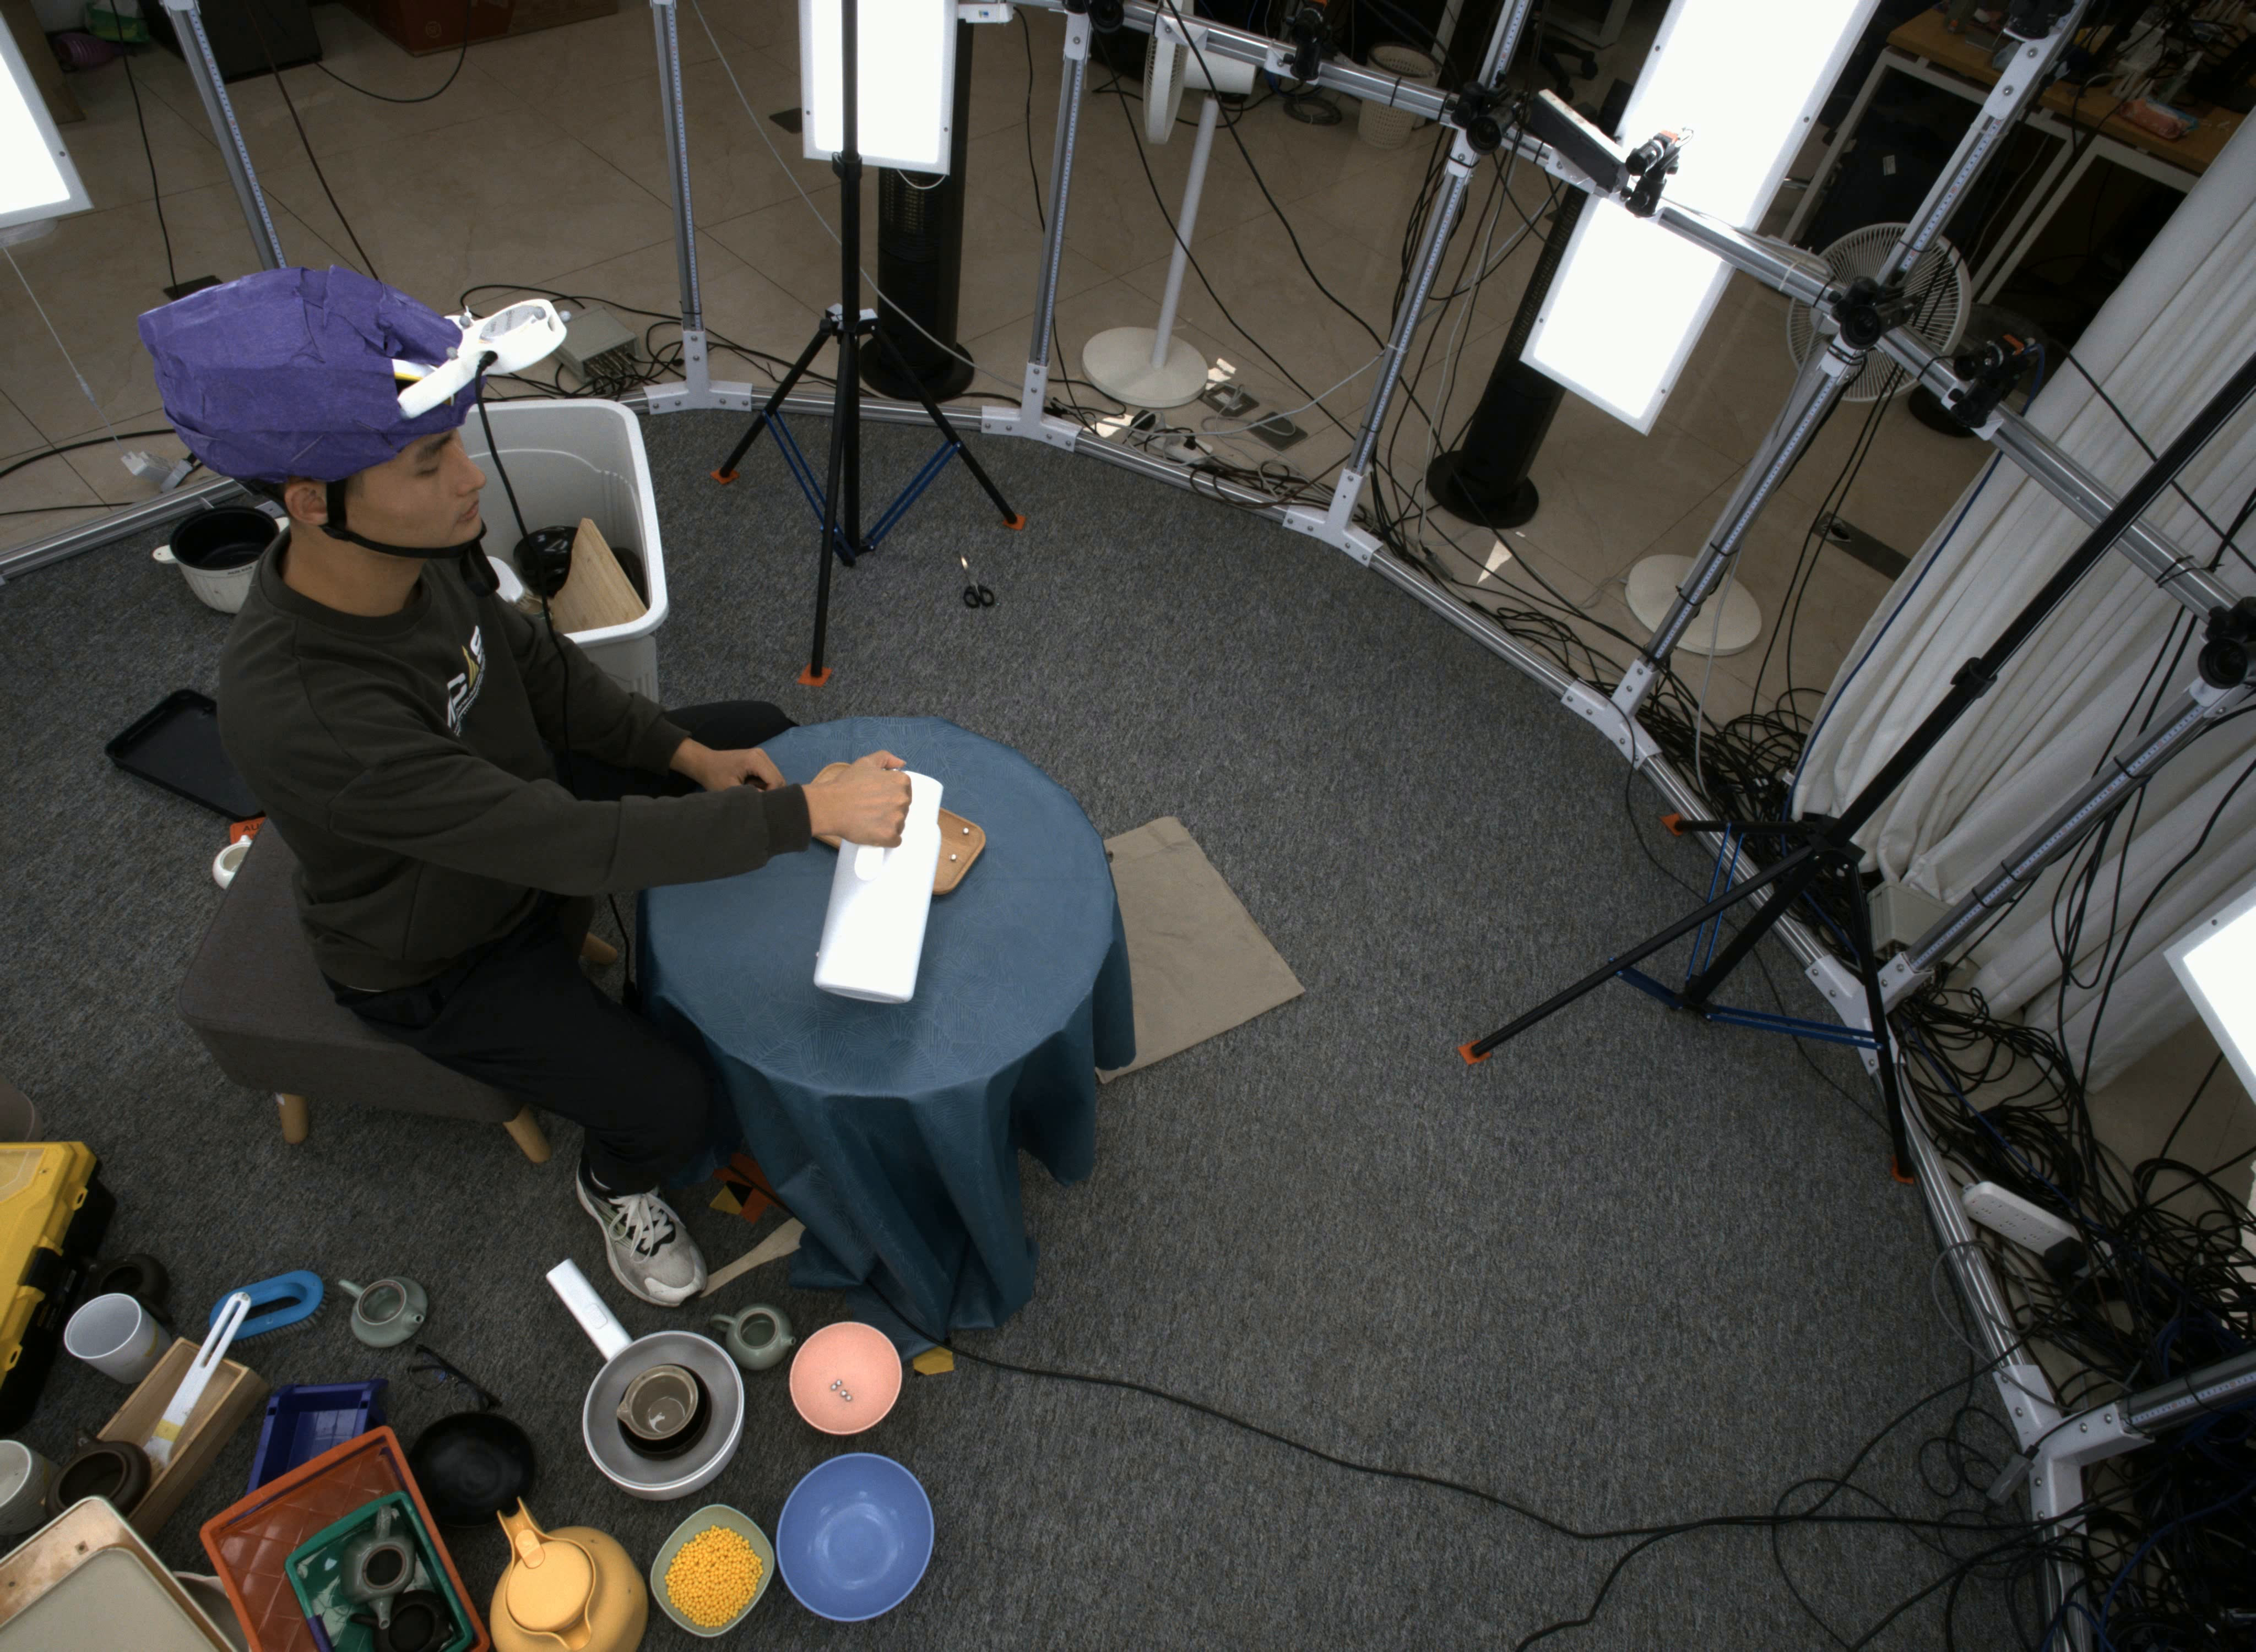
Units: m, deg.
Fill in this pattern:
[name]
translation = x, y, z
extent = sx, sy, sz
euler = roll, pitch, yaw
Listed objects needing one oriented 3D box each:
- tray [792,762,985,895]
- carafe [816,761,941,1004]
[tray]
translation = -0.321, 0.002, 1.748
extent = 0.246, 0.023, 0.130
euler = 26, 50, 8
[carafe]
translation = -0.292, 0.065, 1.538
extent = 0.122, 0.174, 0.269
euler = 10, 77, 0
